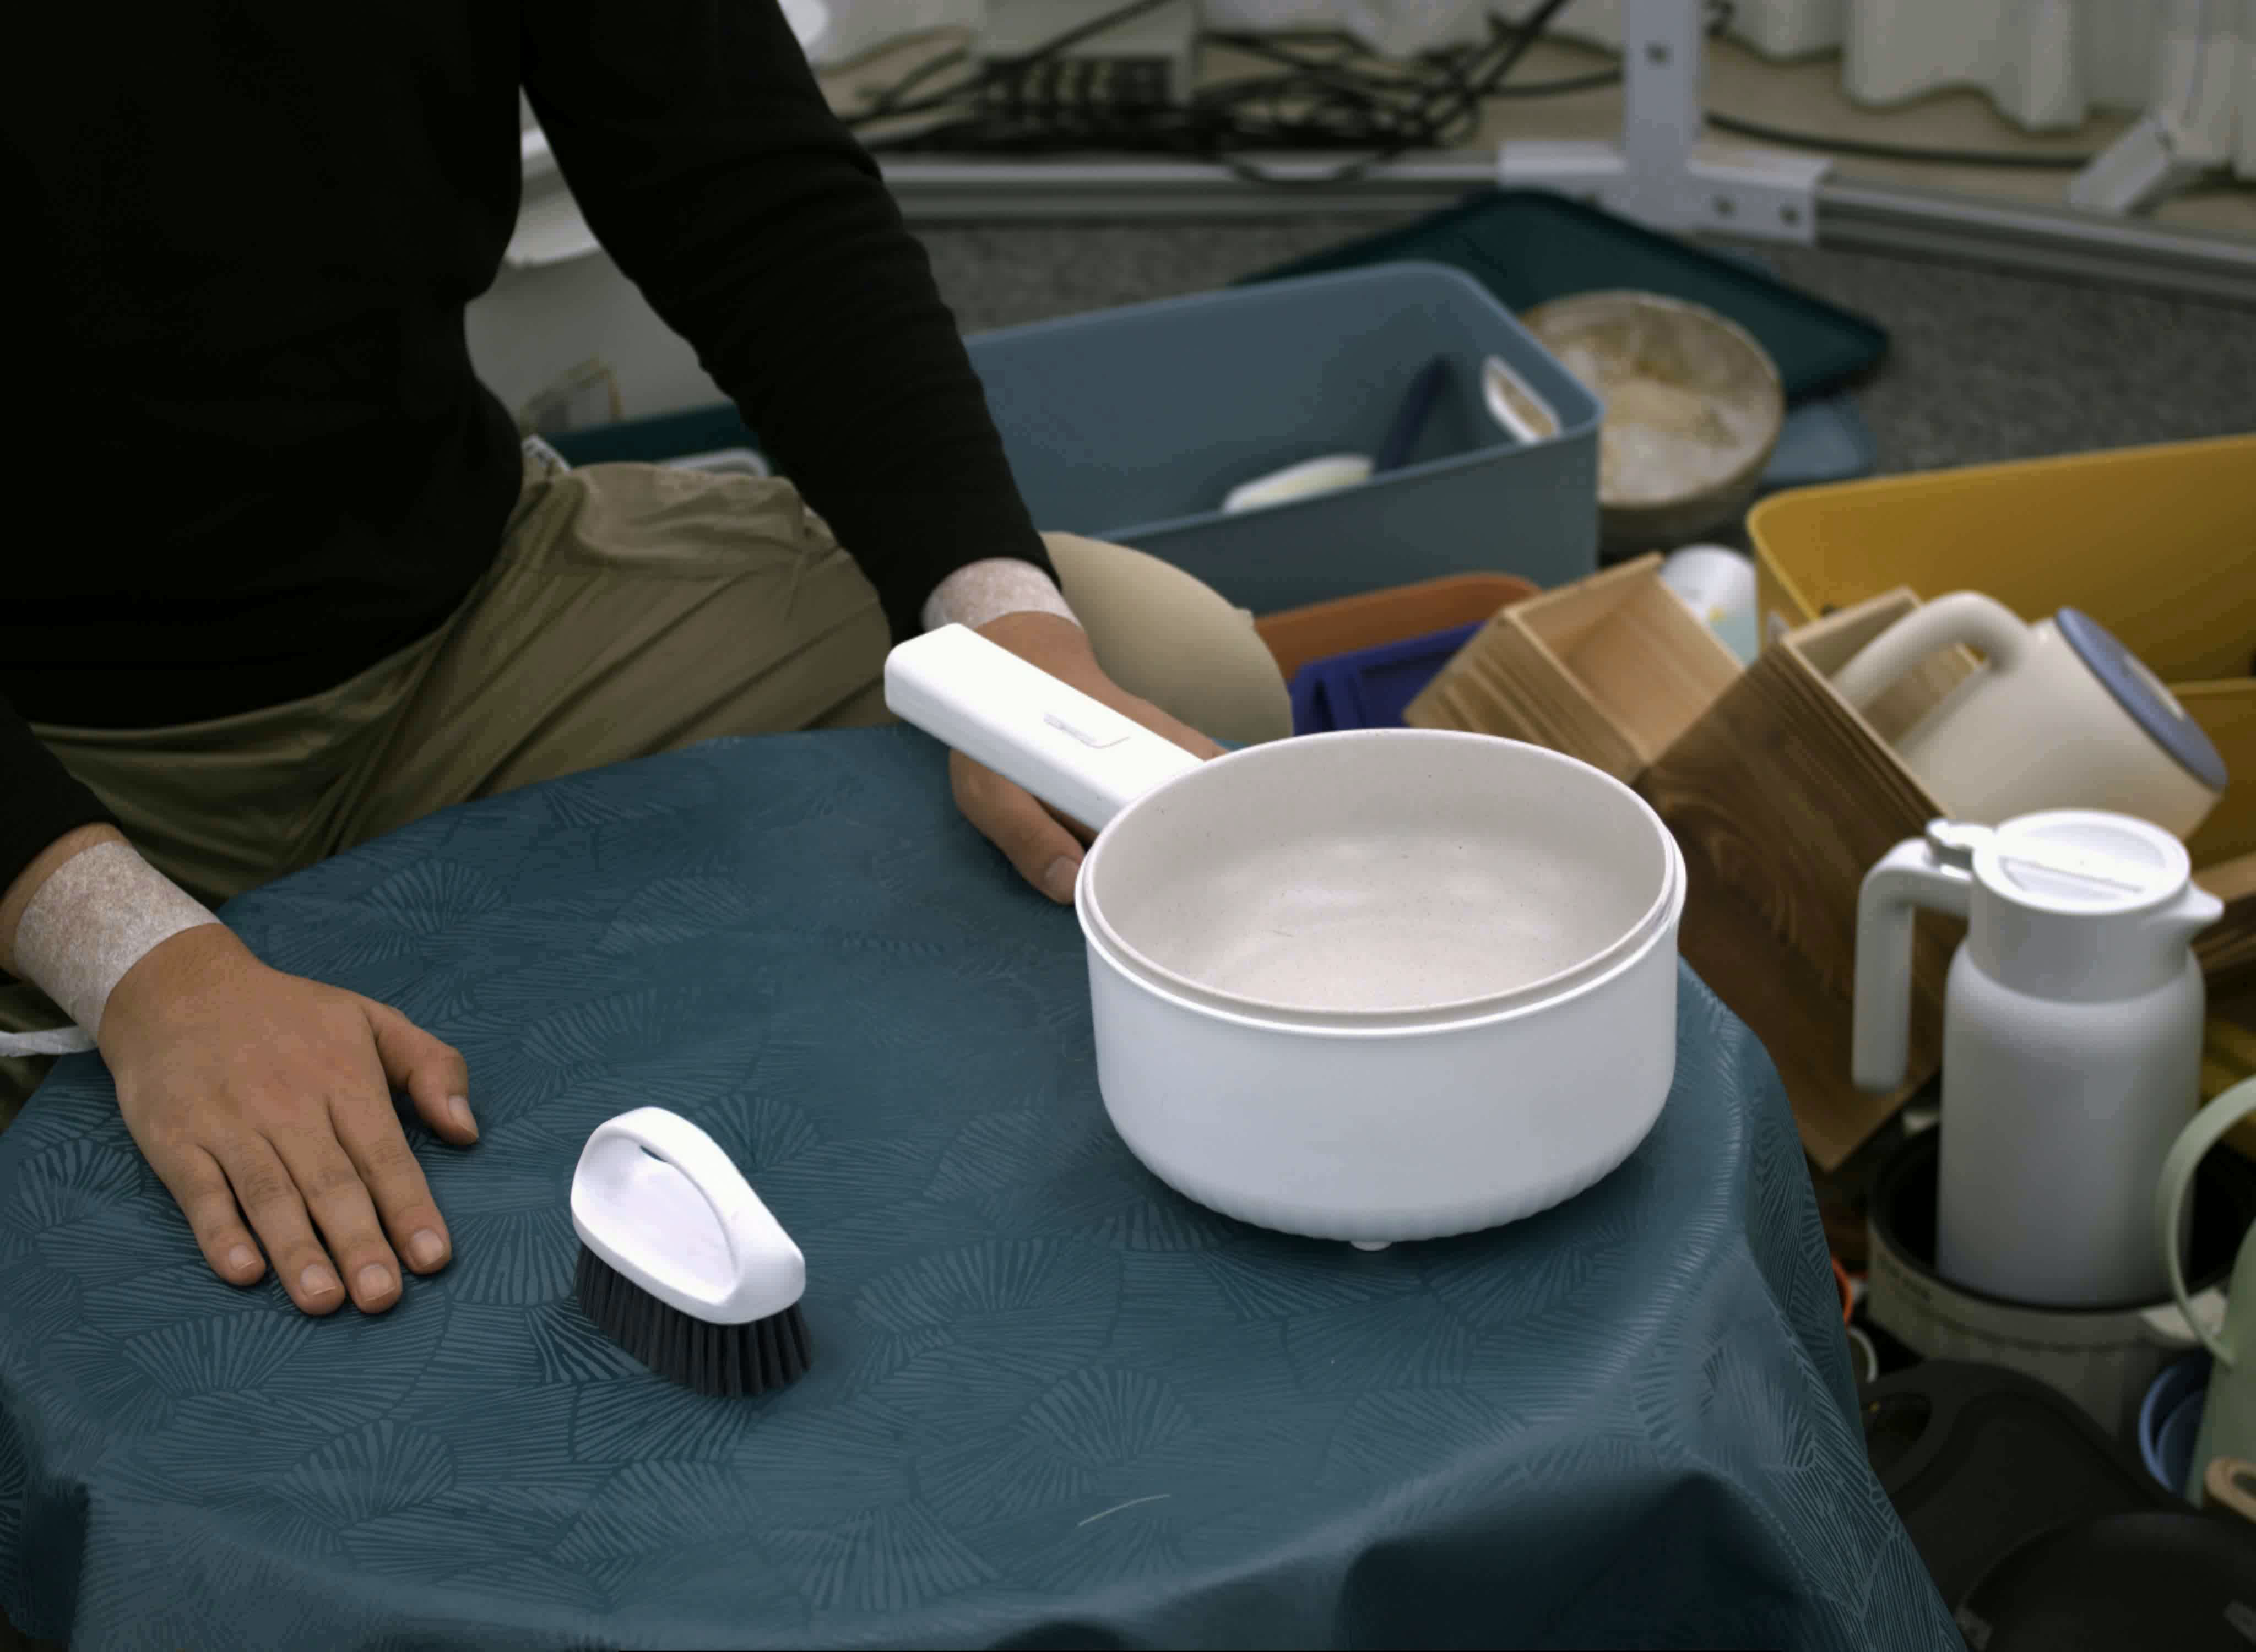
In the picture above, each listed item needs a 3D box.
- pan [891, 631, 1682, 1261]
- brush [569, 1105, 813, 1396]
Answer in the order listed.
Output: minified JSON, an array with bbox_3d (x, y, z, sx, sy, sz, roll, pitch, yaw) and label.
[{"bbox_3d":[0.038,0.034,1.926,0.203,0.101,0.355,-24,33,-31],"label":"pan"},{"bbox_3d":[-0.142,0.128,1.784,0.051,0.072,0.099,-21,32,-32],"label":"brush"}]
